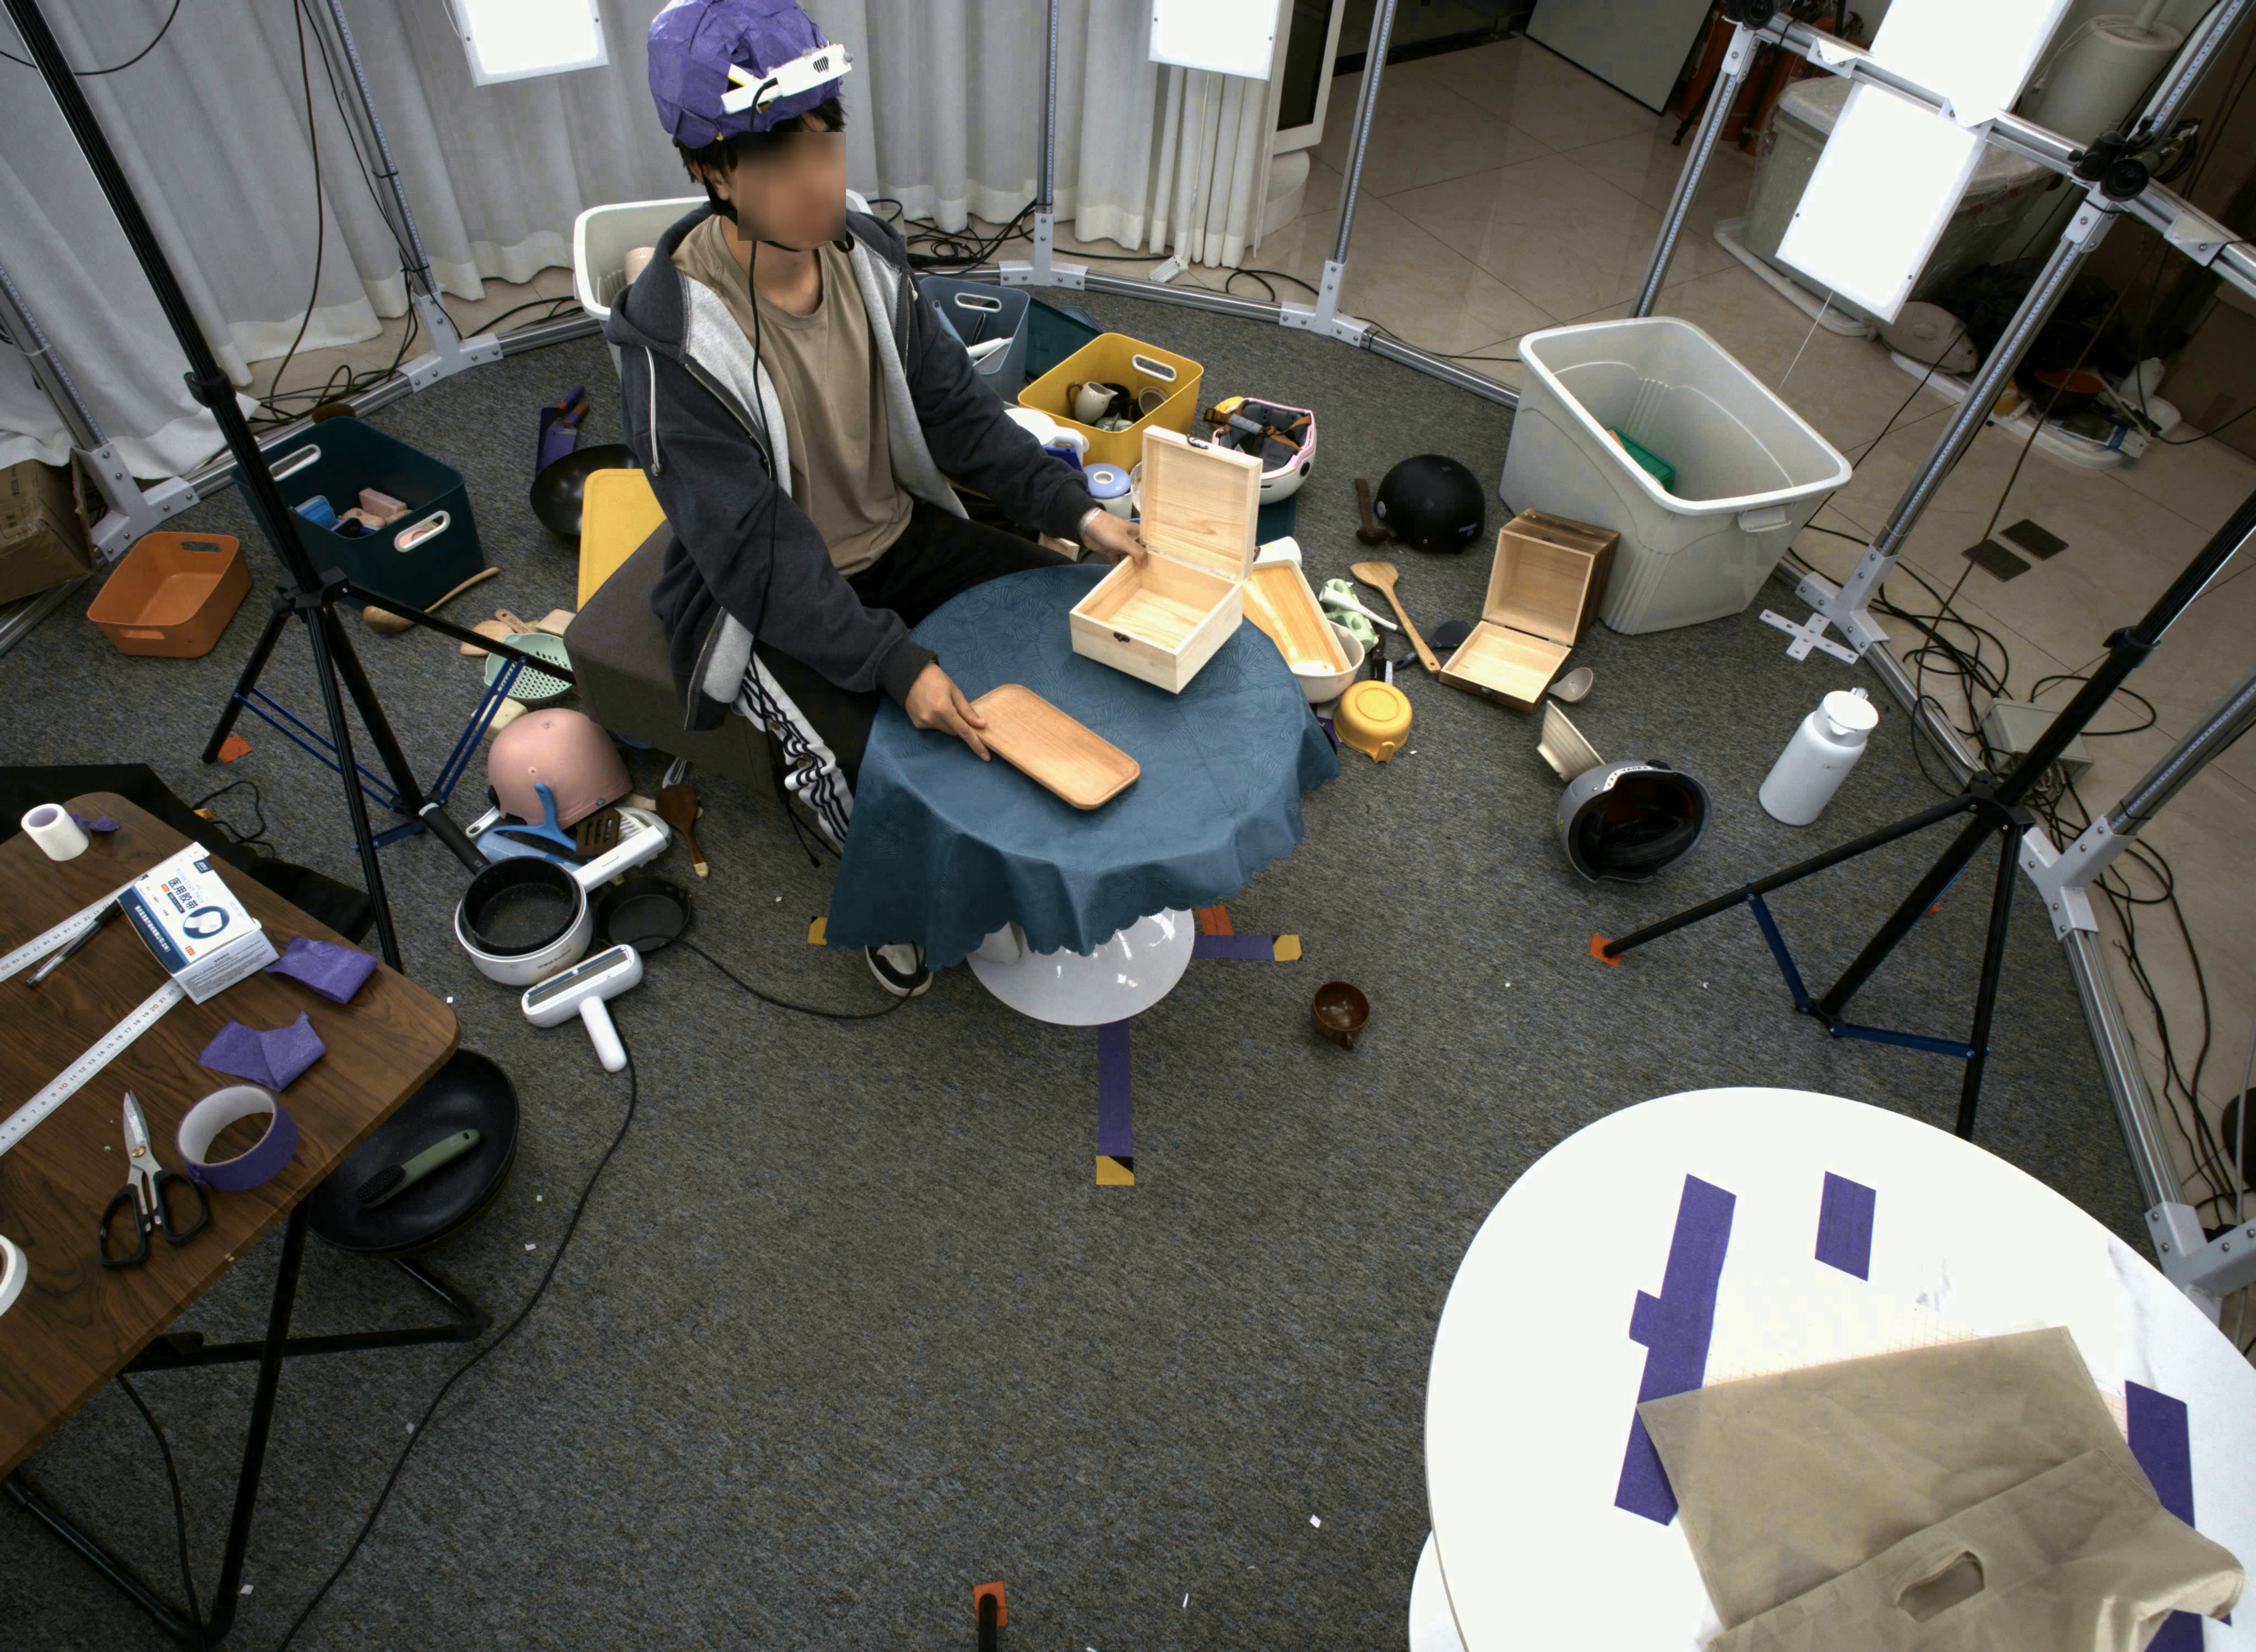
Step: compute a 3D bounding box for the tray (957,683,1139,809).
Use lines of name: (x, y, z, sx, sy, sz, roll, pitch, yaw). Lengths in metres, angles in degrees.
tray: (-0.109, -0.110, 1.732, 0.254, 0.022, 0.132, 35, 44, 24)

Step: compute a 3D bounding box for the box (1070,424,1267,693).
box: (0.056, -0.383, 1.828, 0.183, 0.247, 0.269, 22, 52, 26)
